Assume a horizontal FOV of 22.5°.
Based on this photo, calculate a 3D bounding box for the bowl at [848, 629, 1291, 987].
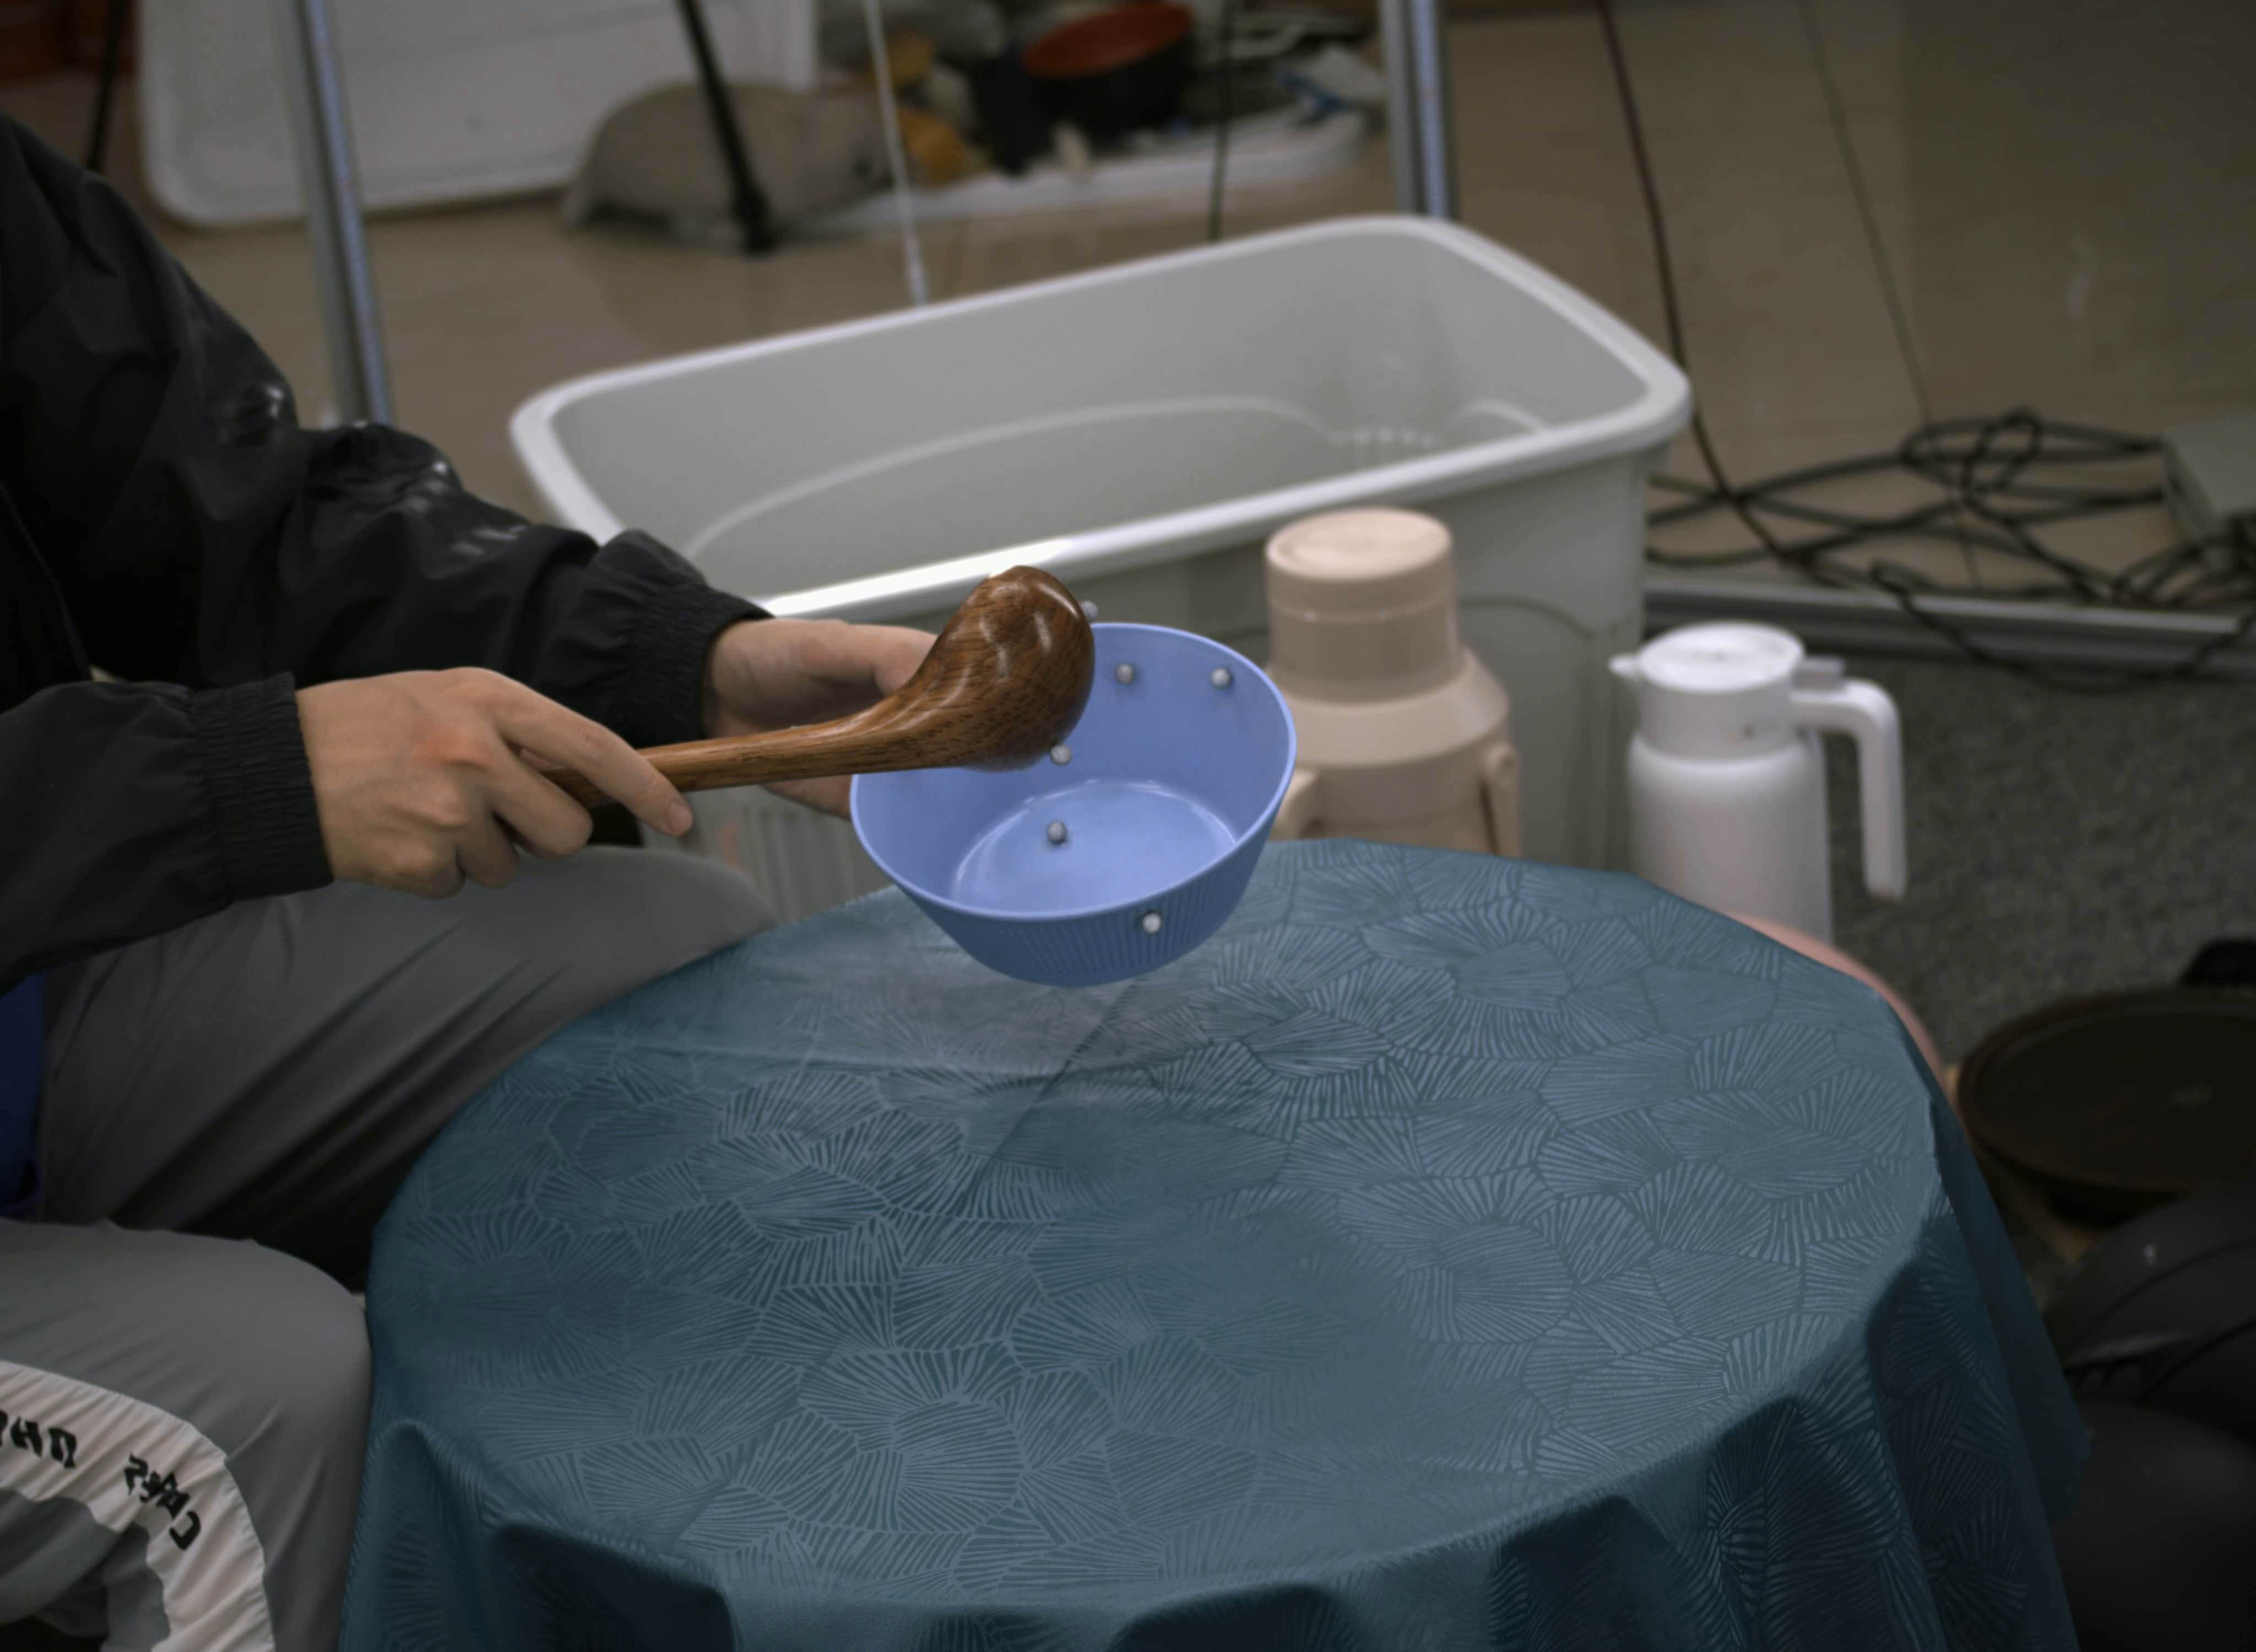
[{"bbox_3d":[-0.018,0.001,2.216,0.176,0.071,0.173,-7,41,6],"label":"bowl"}]

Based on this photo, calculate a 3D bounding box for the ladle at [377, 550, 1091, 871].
[{"bbox_3d":[-0.148,-0.041,2.126,0.274,0.083,0.075,-11,32,8],"label":"ladle"}]
